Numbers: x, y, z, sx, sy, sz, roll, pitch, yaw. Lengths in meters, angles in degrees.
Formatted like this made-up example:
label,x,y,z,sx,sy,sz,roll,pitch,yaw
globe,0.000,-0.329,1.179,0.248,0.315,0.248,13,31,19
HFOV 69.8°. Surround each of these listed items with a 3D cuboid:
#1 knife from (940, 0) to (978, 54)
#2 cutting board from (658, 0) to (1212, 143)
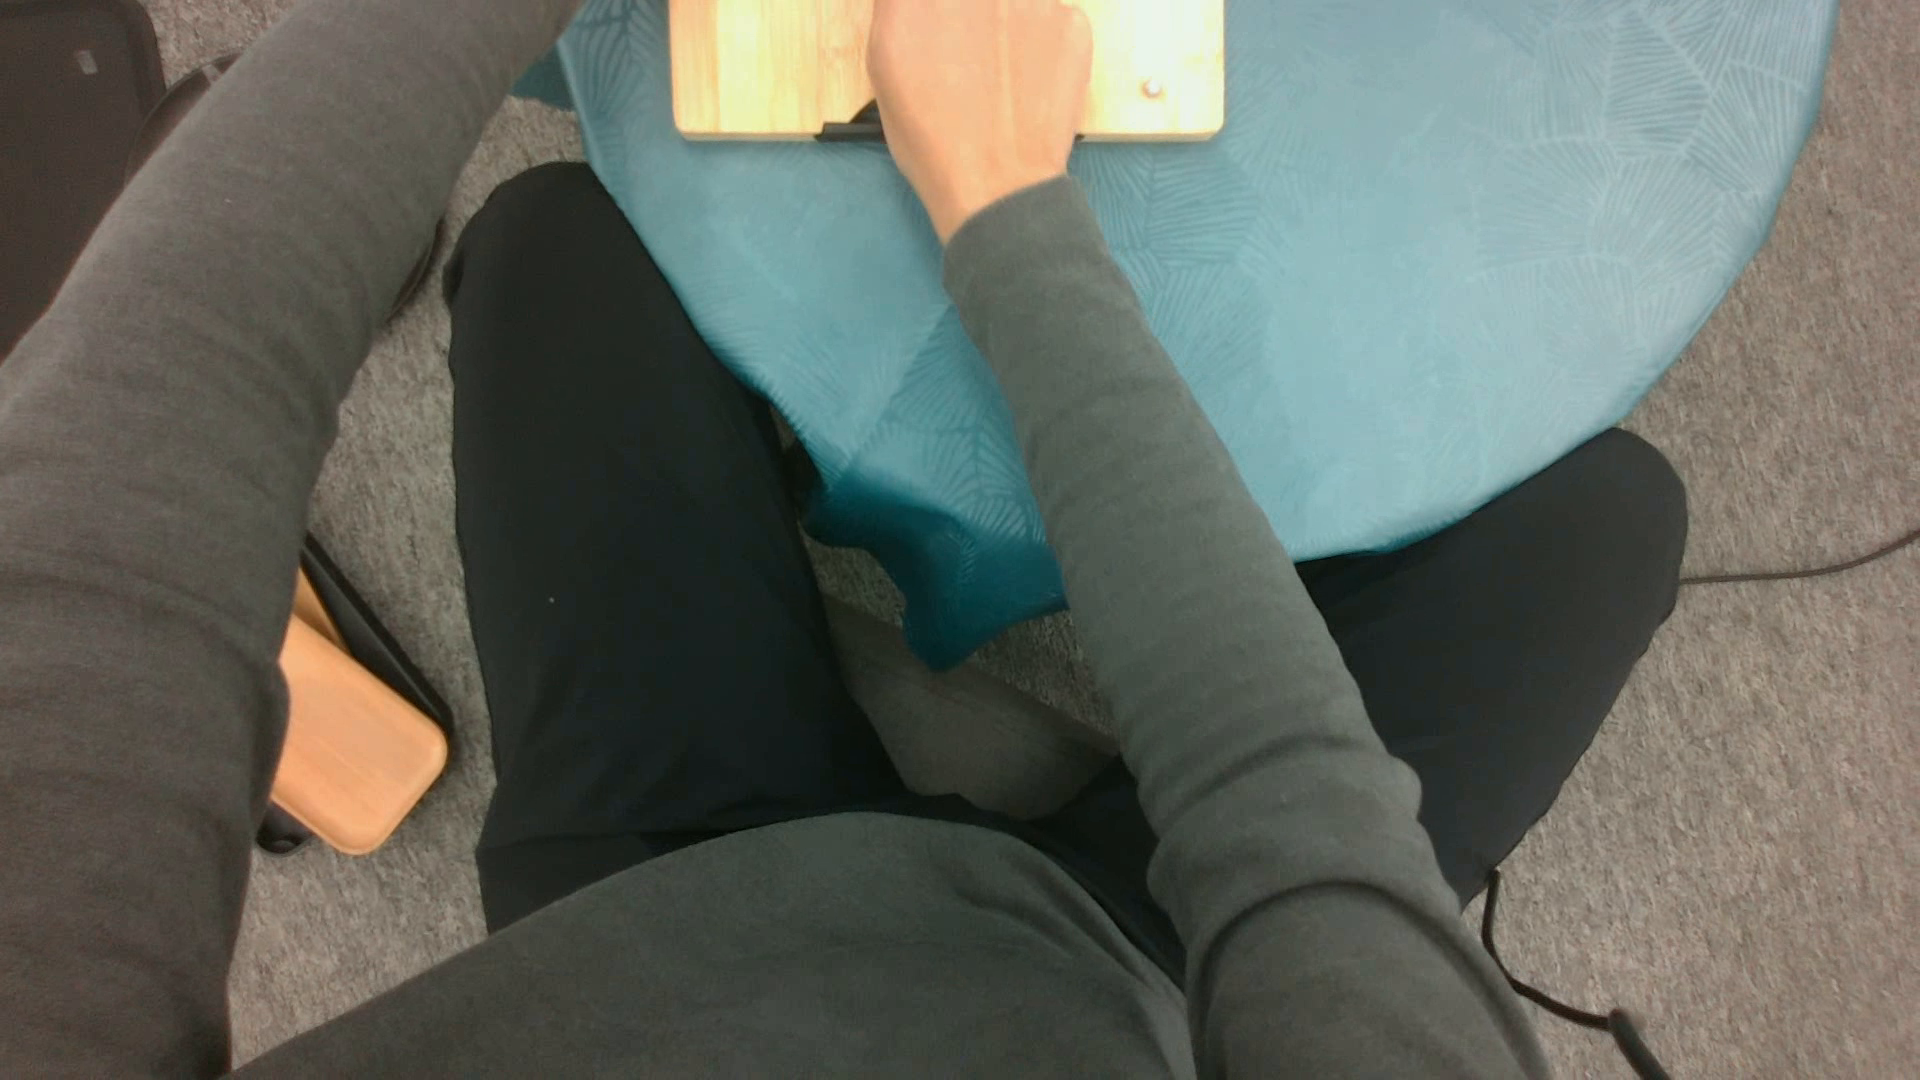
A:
label,x,y,z,sx,sy,sz,roll,pitch,yaw
knife,-0.007,-0.322,0.573,0.016,0.024,0.238,-4,88,-5
cutting board,-0.011,-0.349,0.597,0.251,0.023,0.348,-2,94,-5
